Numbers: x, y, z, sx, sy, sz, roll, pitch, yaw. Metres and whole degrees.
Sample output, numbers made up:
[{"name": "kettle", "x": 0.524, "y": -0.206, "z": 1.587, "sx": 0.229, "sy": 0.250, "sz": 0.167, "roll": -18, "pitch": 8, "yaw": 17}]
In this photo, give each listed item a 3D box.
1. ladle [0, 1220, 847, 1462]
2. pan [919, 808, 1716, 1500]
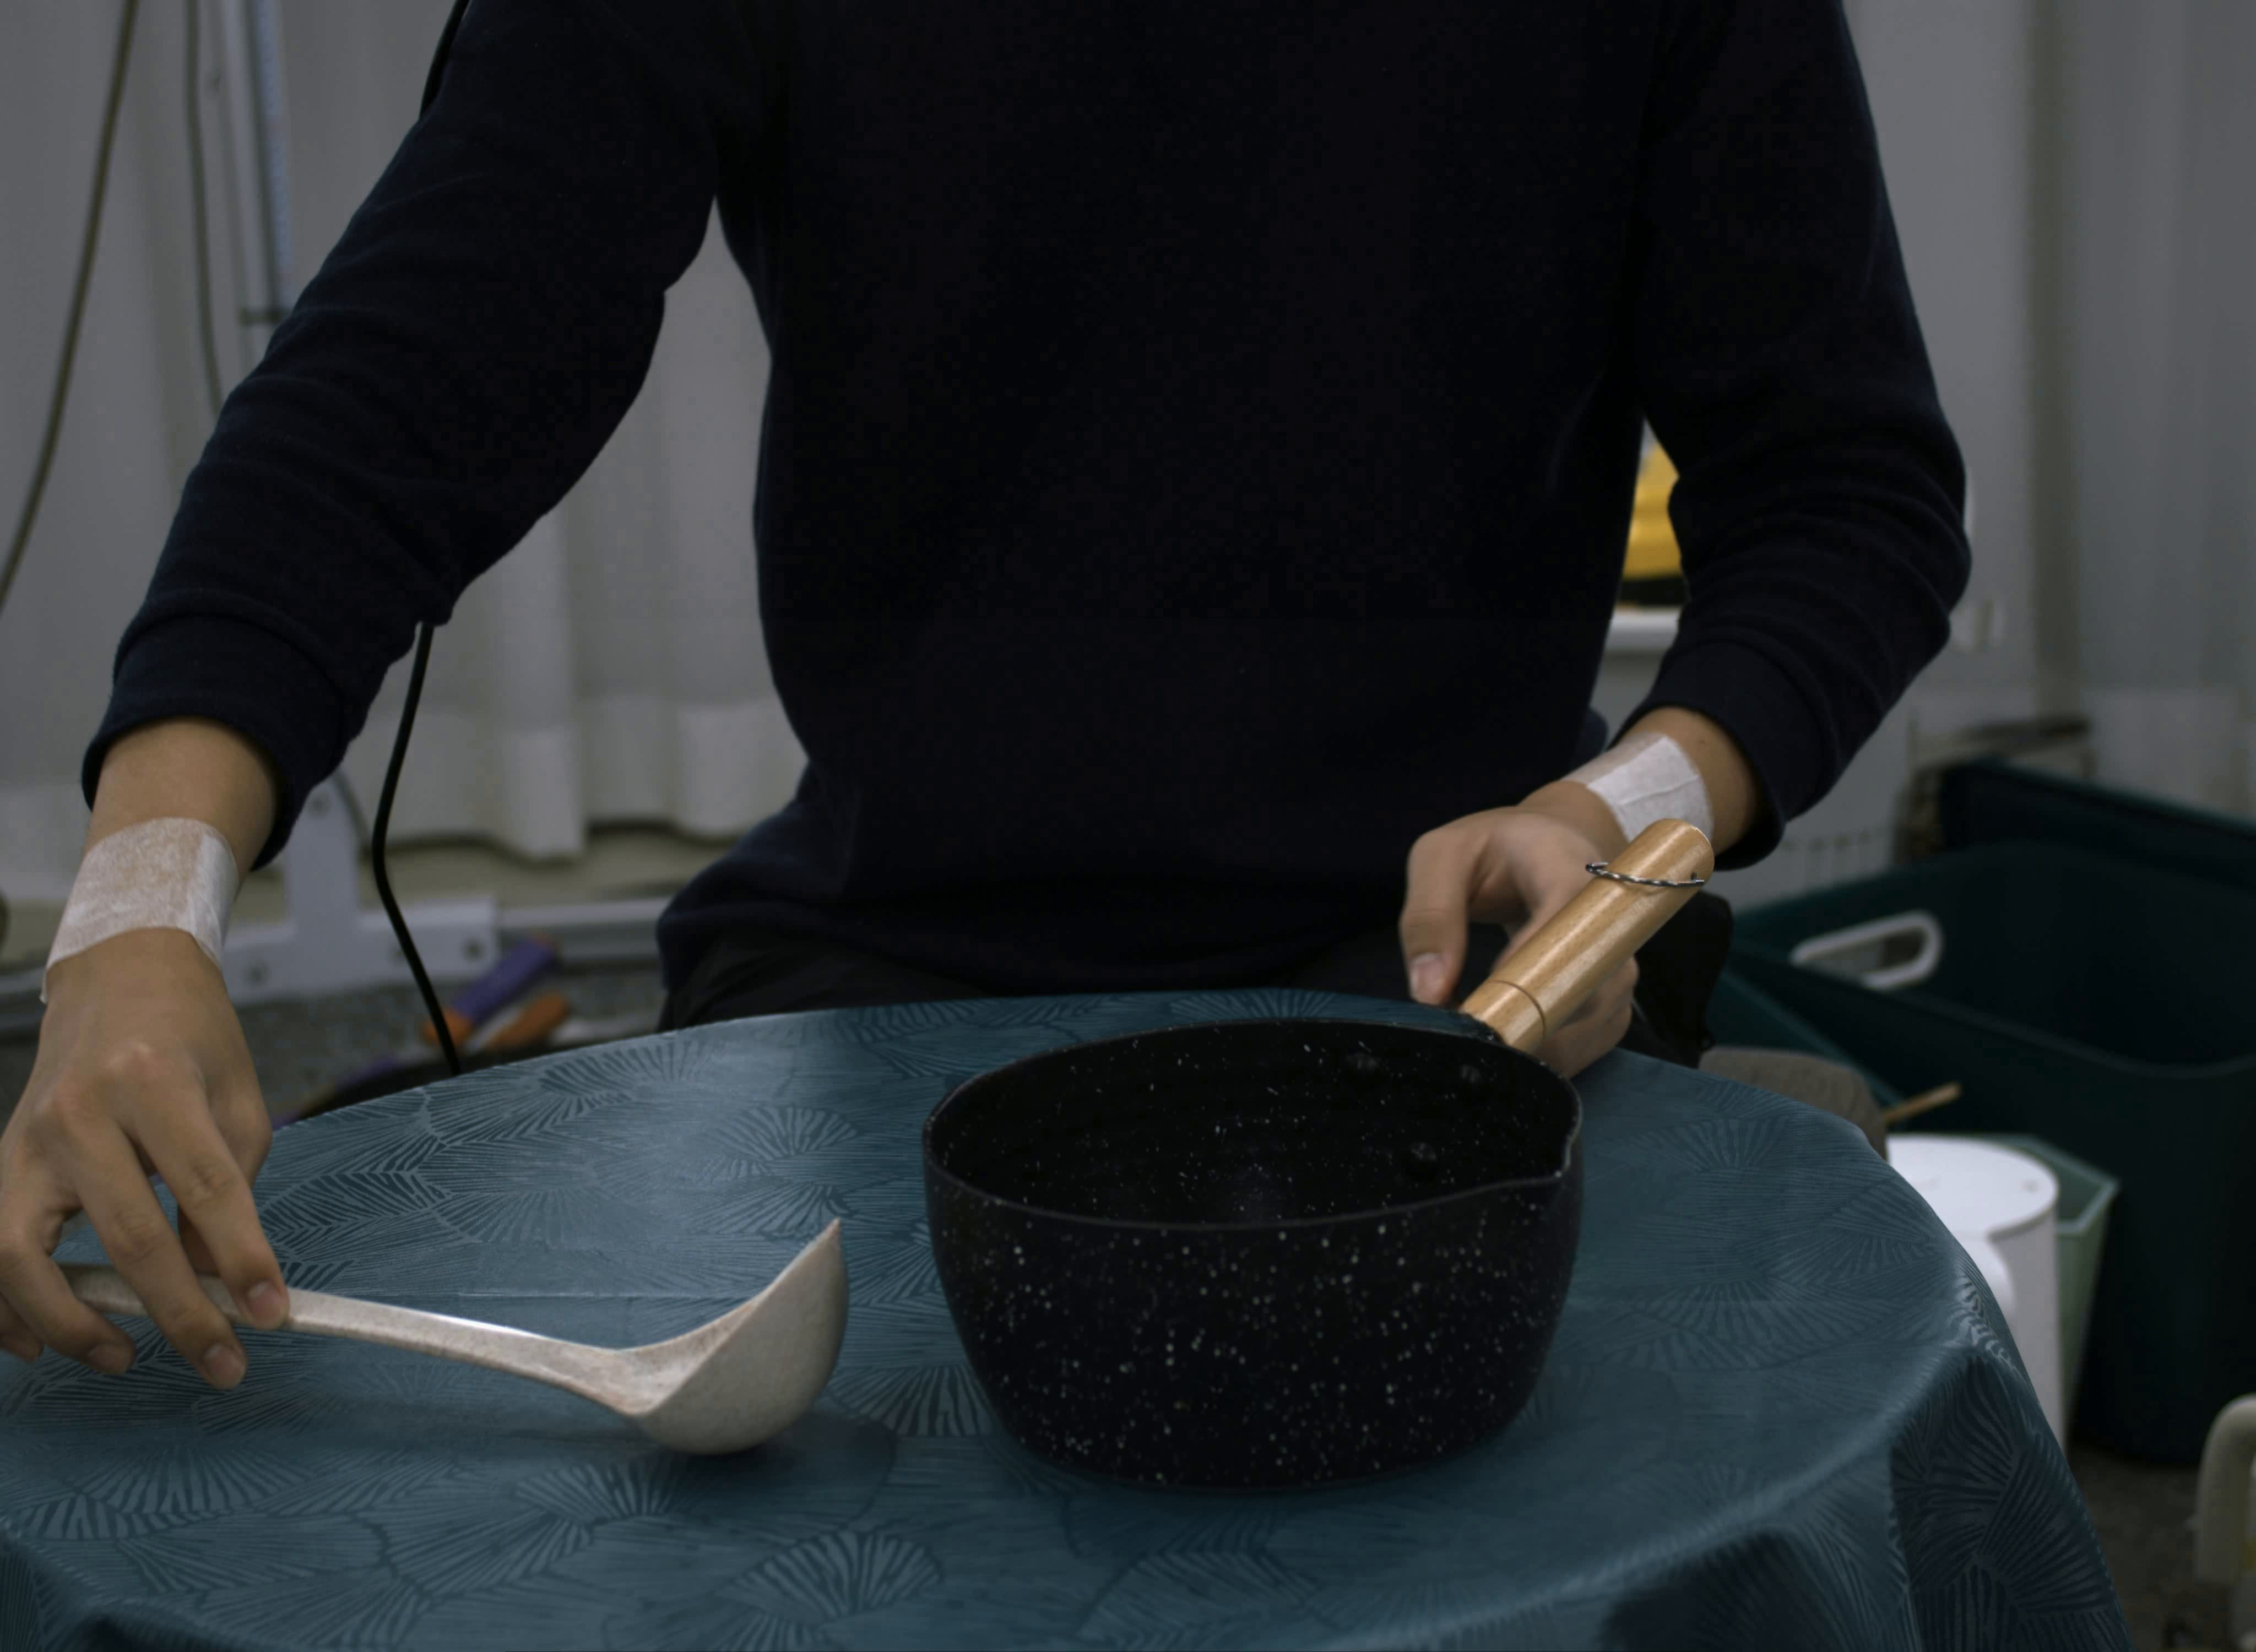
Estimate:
[{"name": "ladle", "x": -0.211, "y": 0.124, "z": 1.541, "sx": 0.275, "sy": 0.069, "sz": 0.090, "roll": 9, "pitch": 26, "yaw": 15}, {"name": "pan", "x": 0.079, "y": 0.090, "z": 1.585, "sx": 0.208, "sy": 0.108, "sz": 0.343, "roll": 5, "pitch": 19, "yaw": 33}]
